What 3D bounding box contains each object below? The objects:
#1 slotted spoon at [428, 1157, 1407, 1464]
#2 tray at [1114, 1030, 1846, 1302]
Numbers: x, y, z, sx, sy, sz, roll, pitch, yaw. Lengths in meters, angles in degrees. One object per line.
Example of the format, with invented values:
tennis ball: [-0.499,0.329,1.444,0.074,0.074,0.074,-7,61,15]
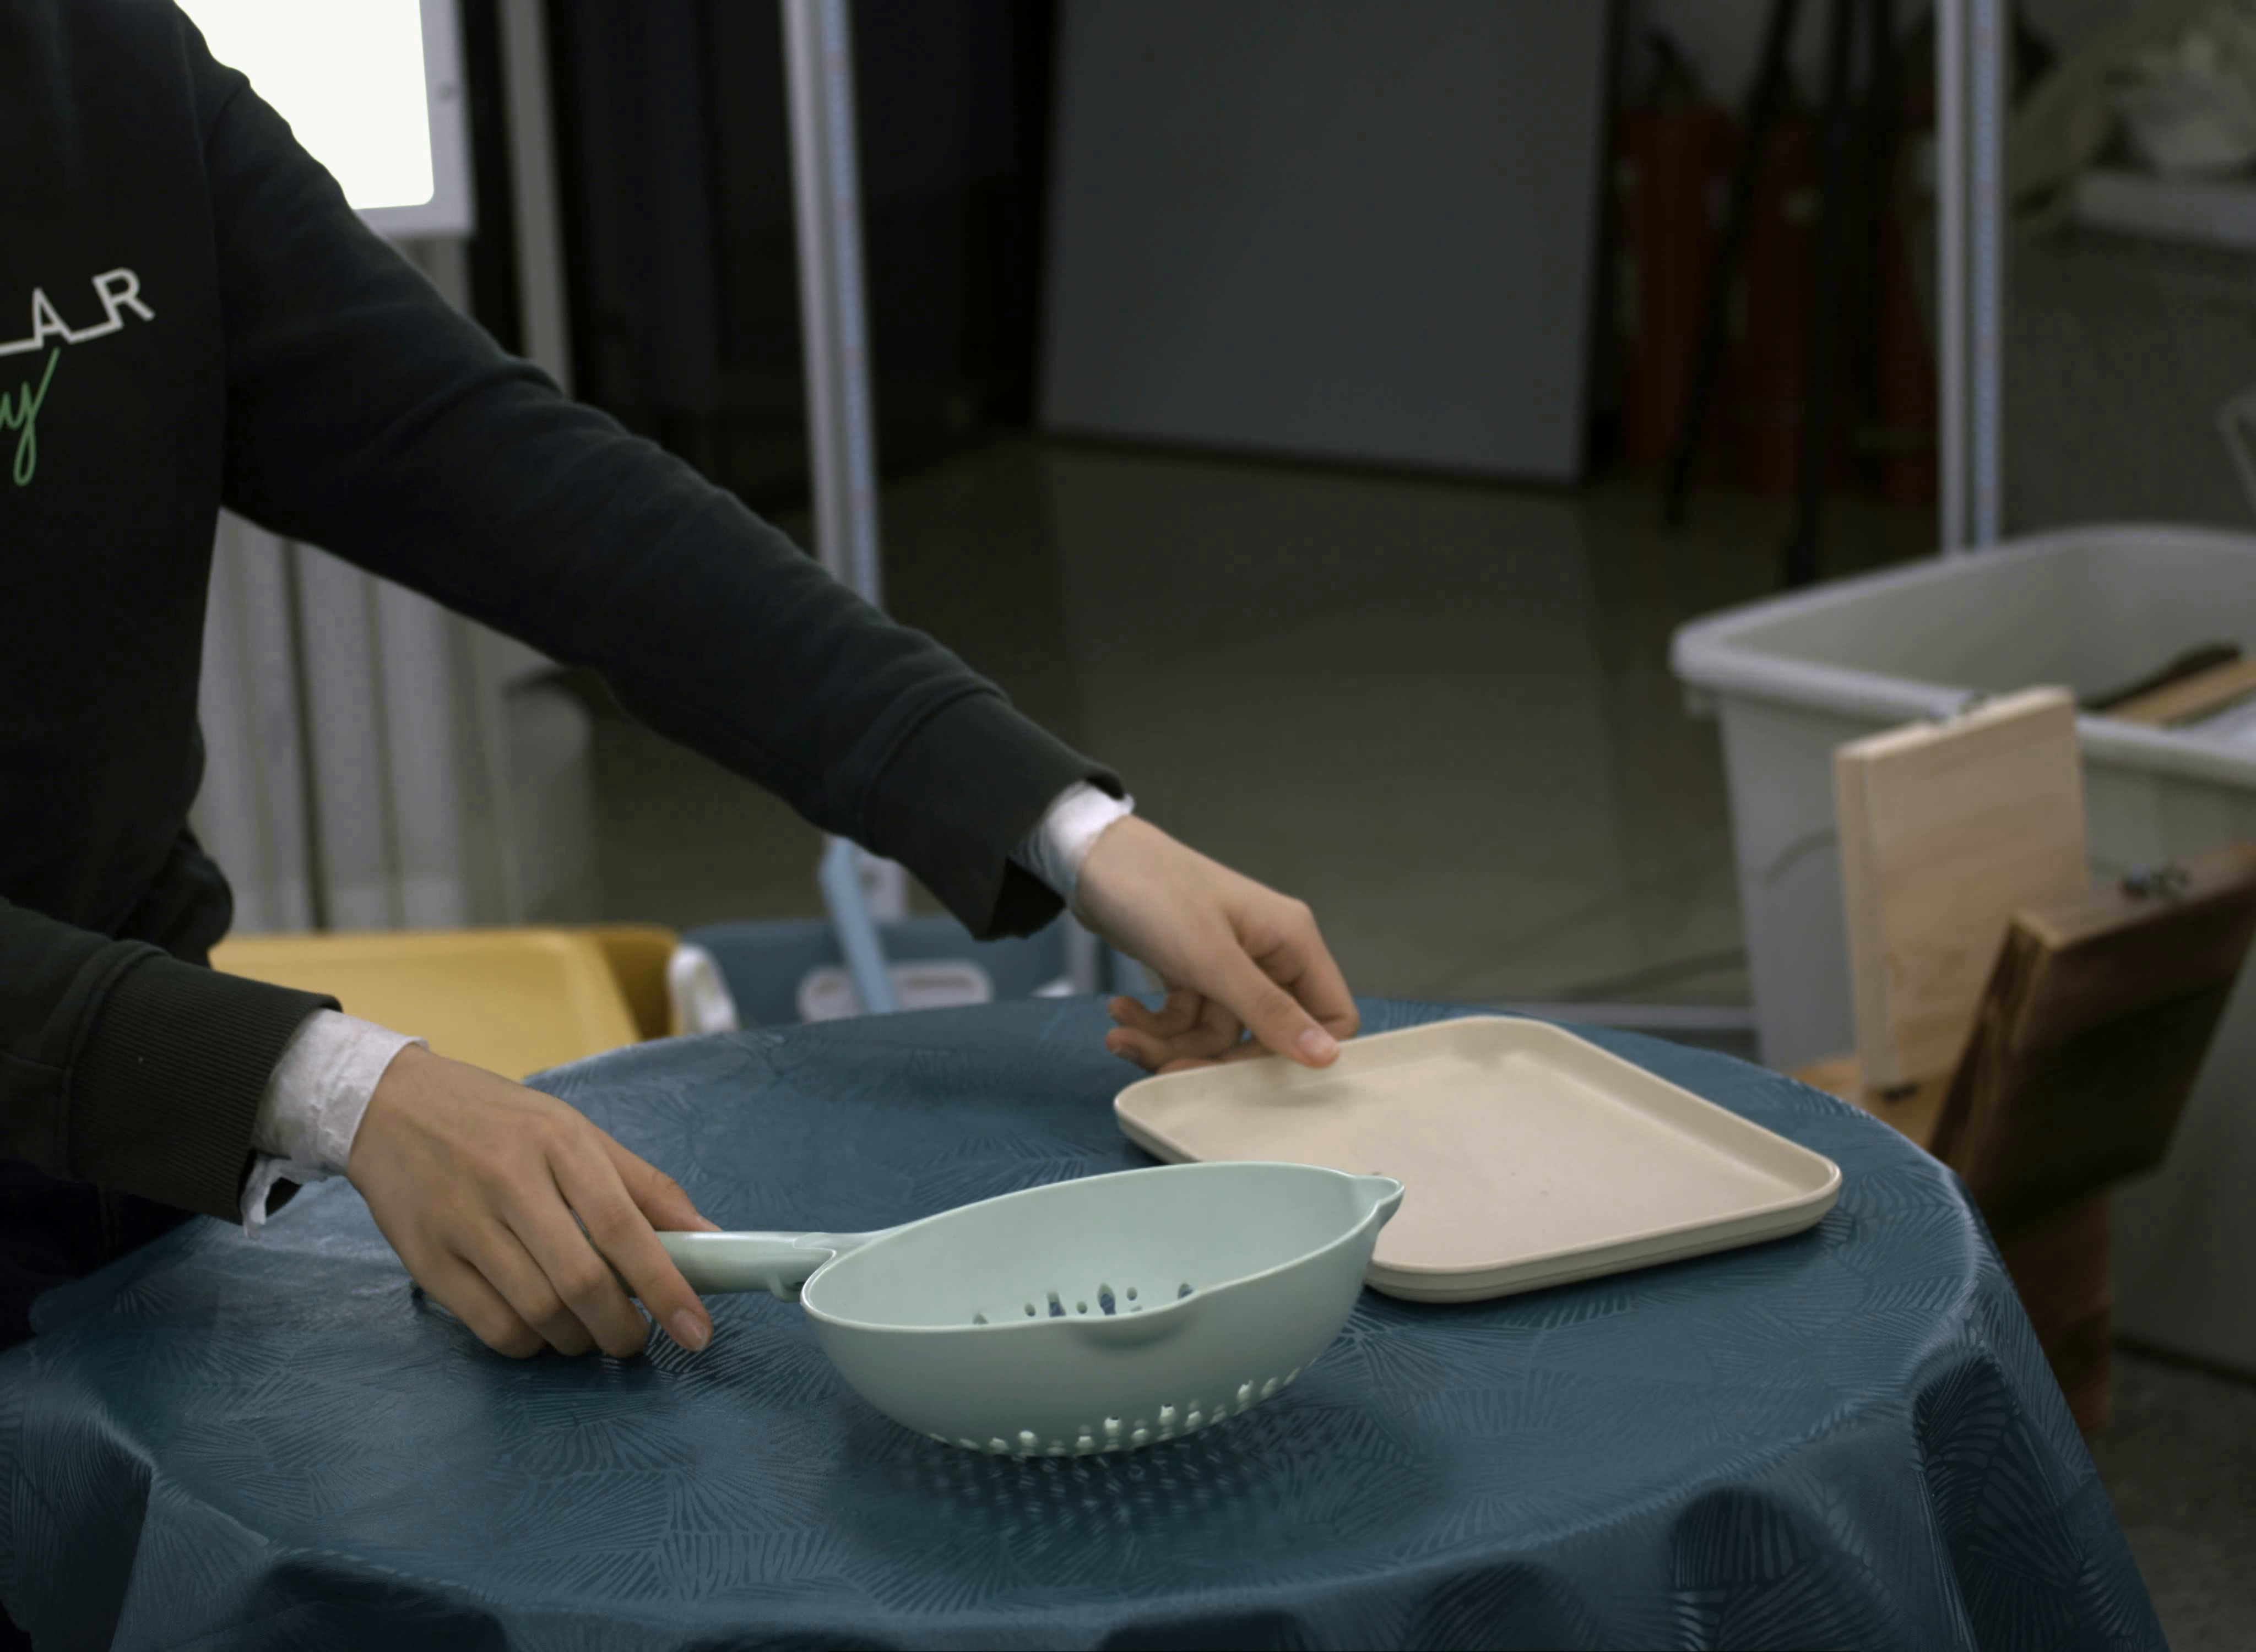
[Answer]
slotted spoon: [-0.083,0.136,1.605,0.361,0.076,0.166,6,16,38]
tray: [0.111,0.109,1.753,0.167,0.017,0.242,-10,14,-23]
